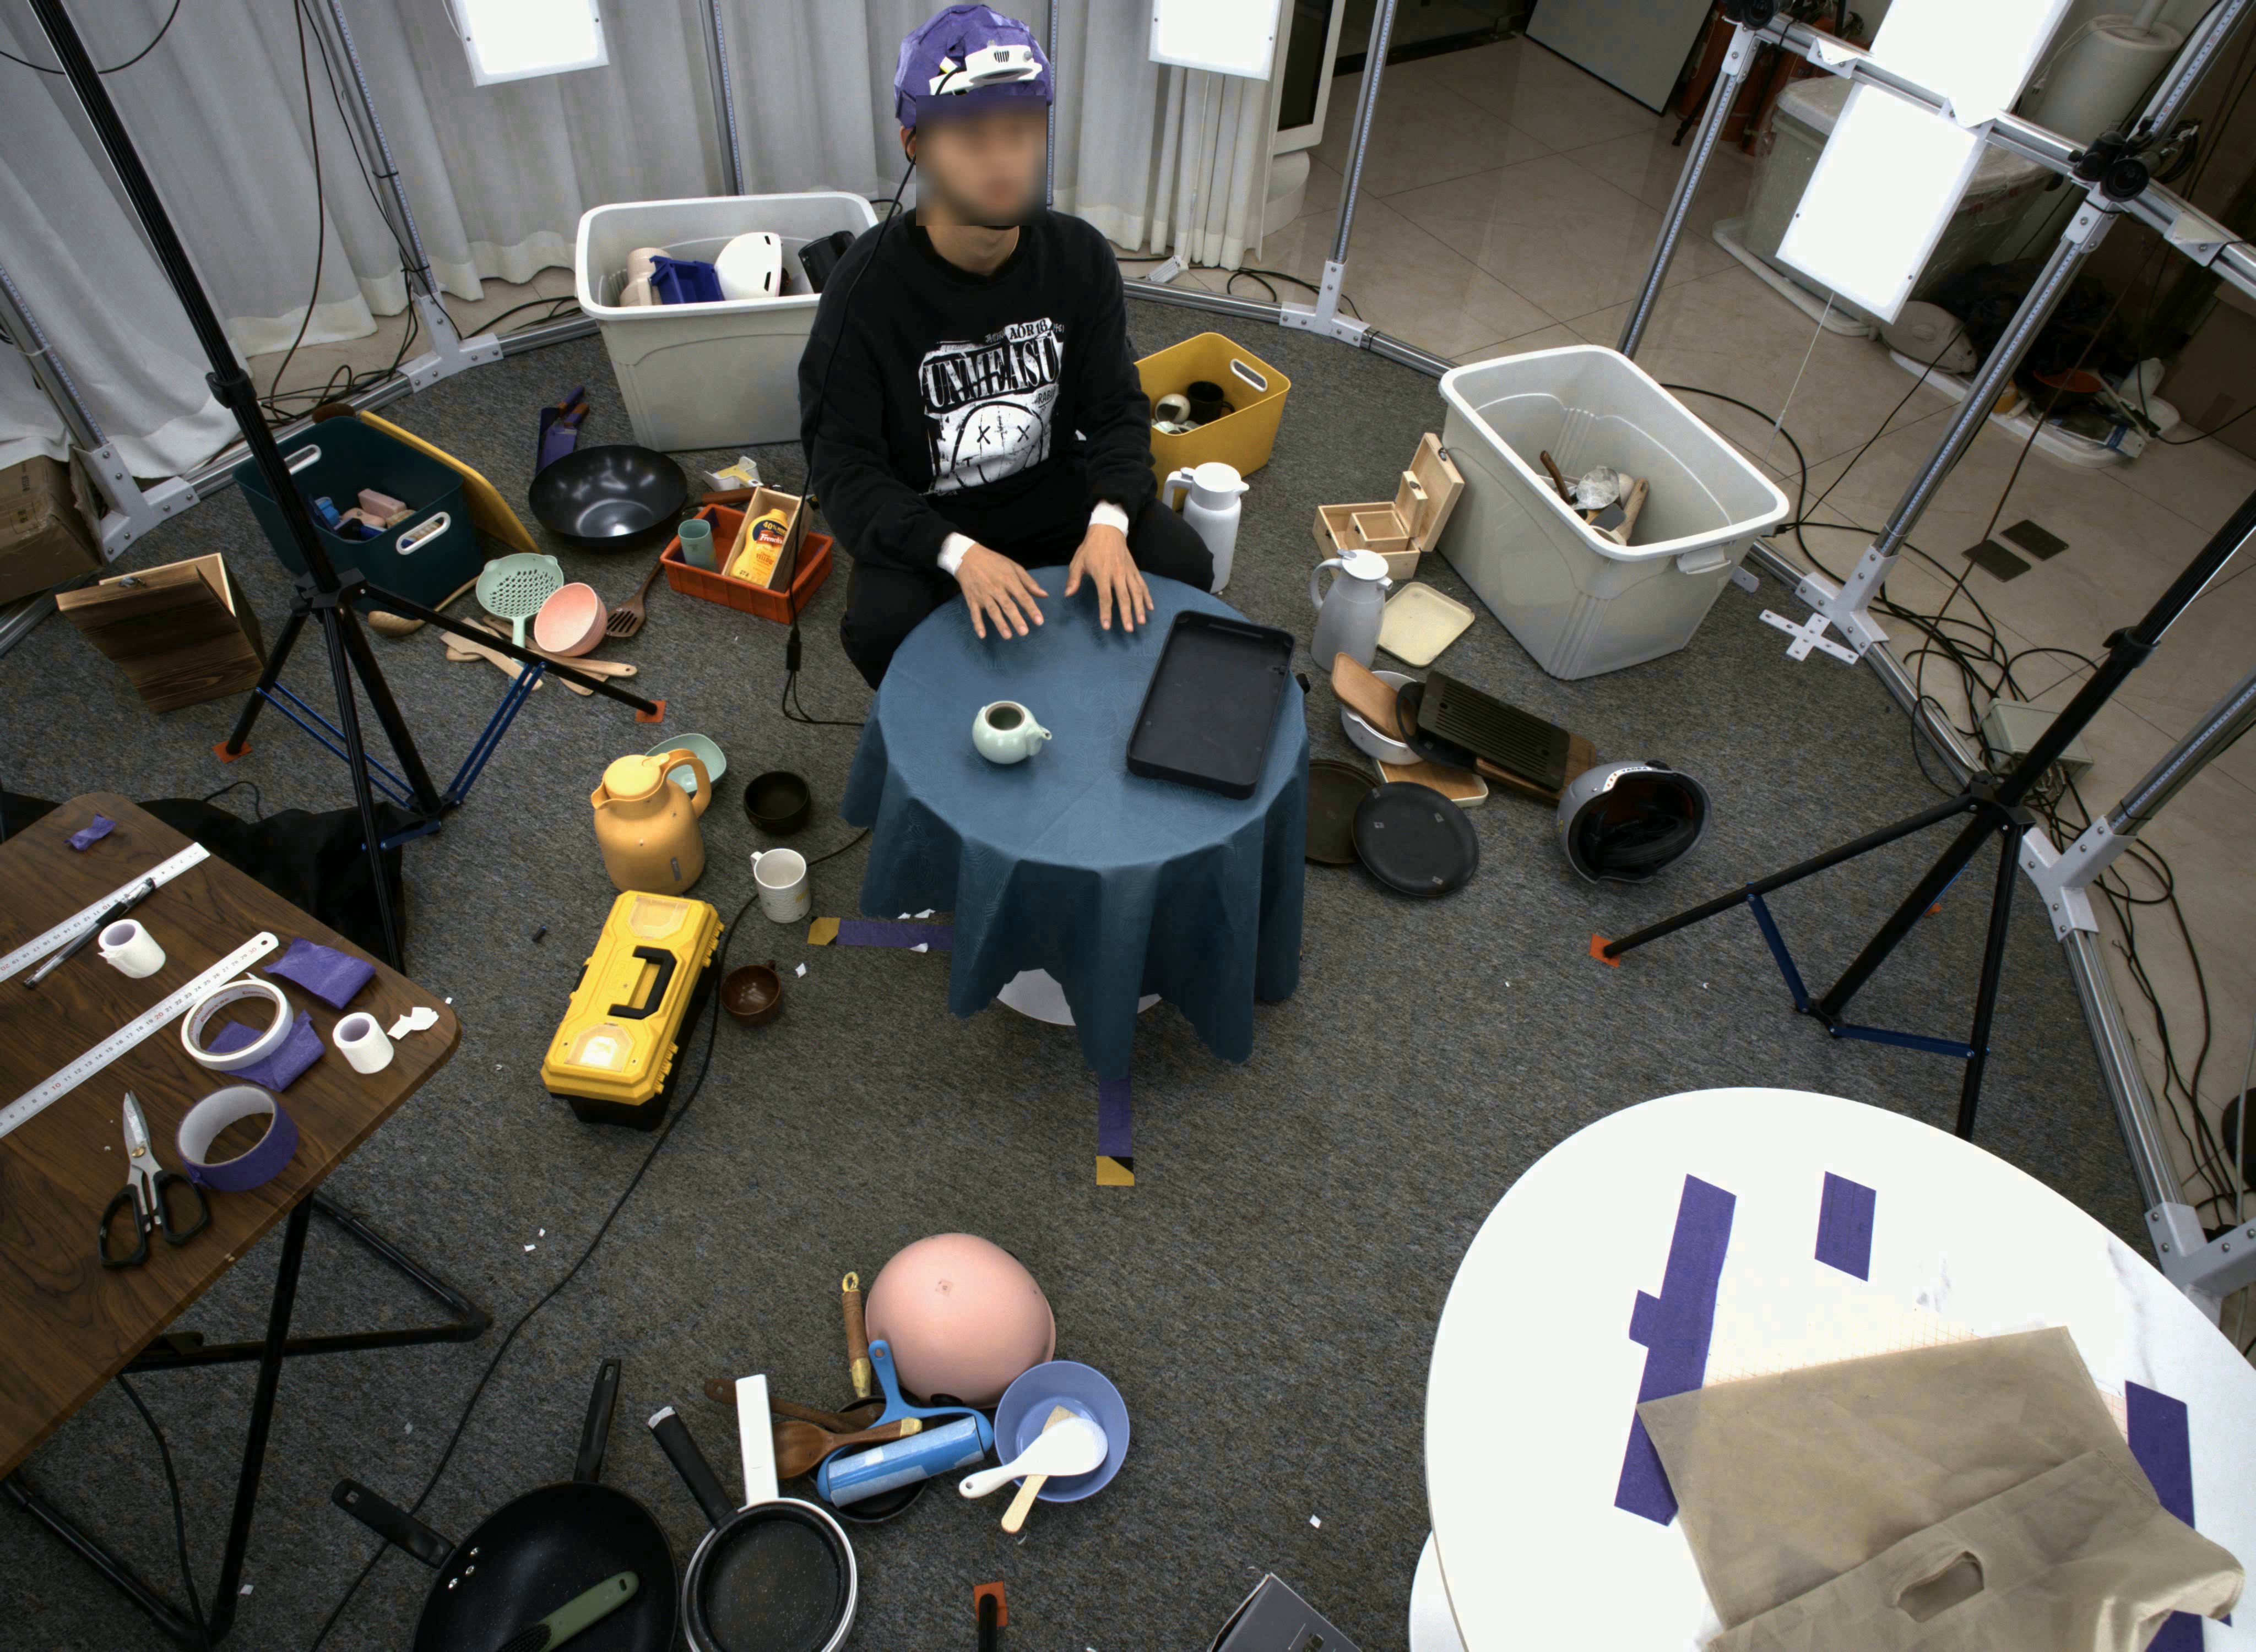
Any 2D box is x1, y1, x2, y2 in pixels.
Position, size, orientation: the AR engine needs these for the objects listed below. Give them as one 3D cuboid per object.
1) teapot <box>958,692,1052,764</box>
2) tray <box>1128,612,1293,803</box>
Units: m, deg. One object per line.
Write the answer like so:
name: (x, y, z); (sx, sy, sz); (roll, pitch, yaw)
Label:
teapot: (-0.165, -0.127, 1.722); (0.145, 0.073, 0.089); (28, 53, 17)
tray: (0.118, -0.173, 1.803); (0.184, 0.036, 0.325); (12, 50, 6)
